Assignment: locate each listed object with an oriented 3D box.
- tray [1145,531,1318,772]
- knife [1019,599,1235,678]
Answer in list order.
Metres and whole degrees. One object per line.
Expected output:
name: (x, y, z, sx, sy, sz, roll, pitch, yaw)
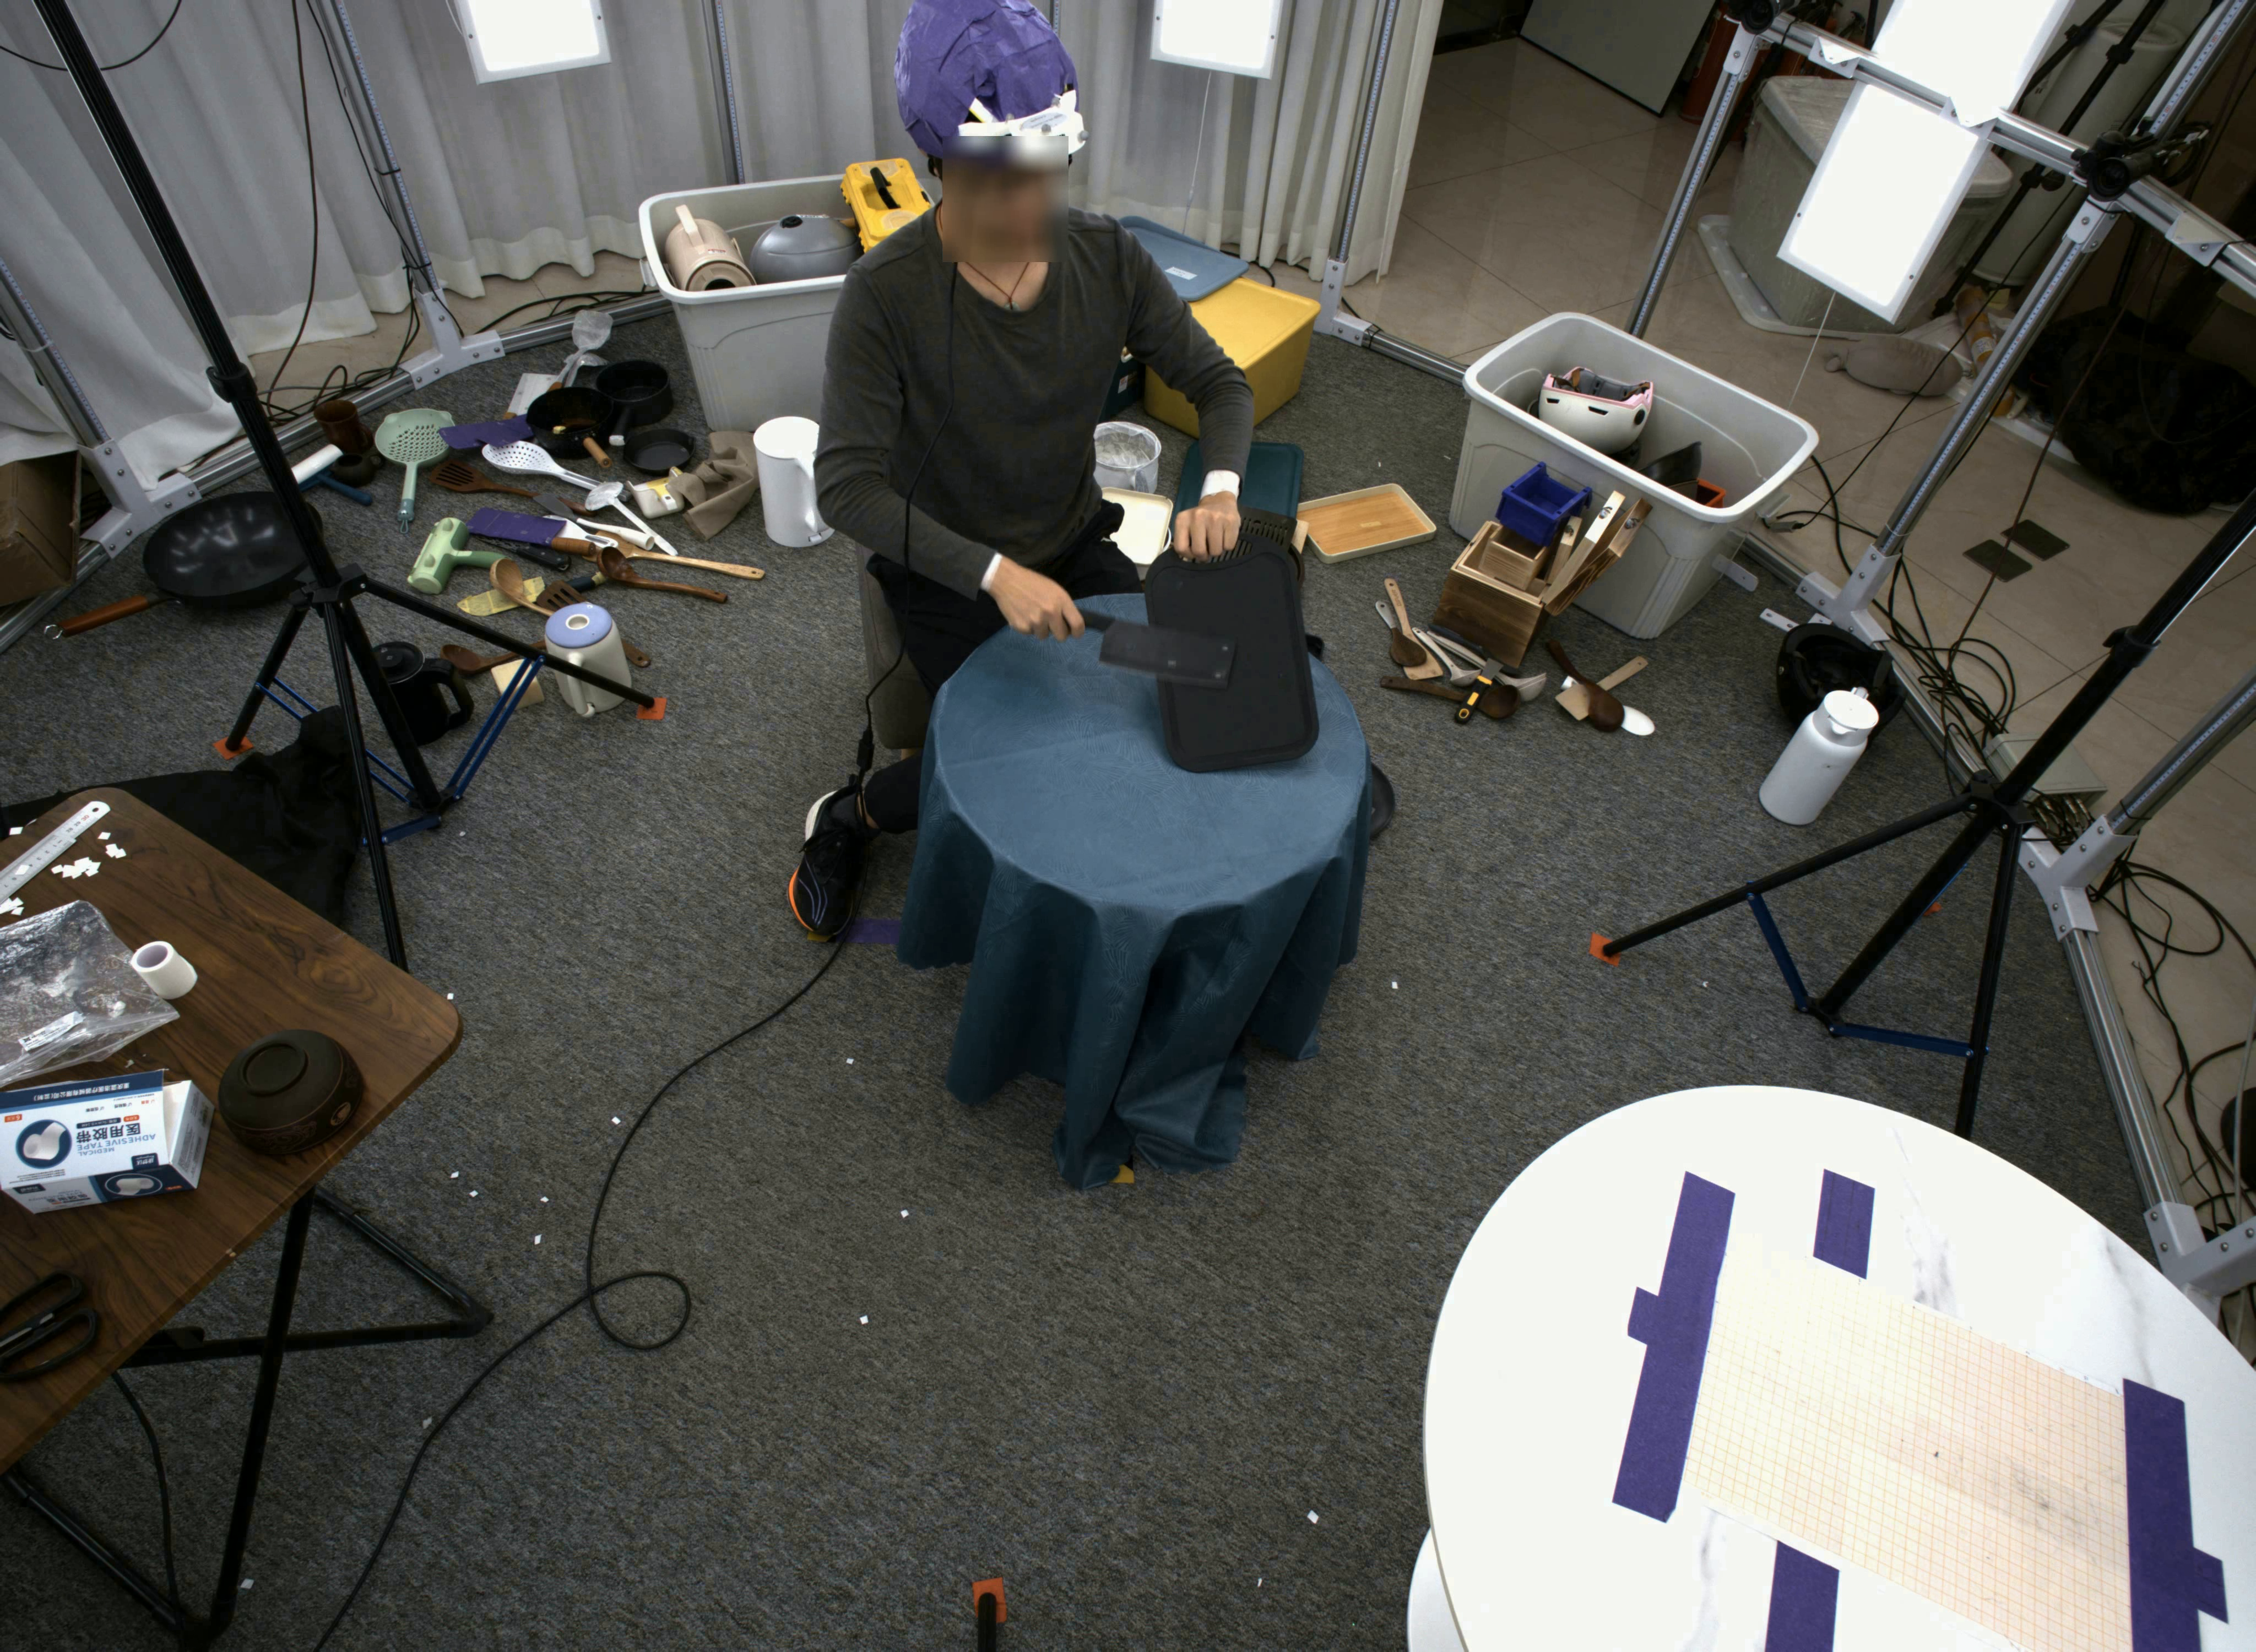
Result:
tray: (0.138, -0.242, 1.752, 0.211, 0.010, 0.327, -7, 84, 1)
knife: (-0.003, -0.260, 1.763, 0.303, 0.021, 0.081, 16, 89, 8)
